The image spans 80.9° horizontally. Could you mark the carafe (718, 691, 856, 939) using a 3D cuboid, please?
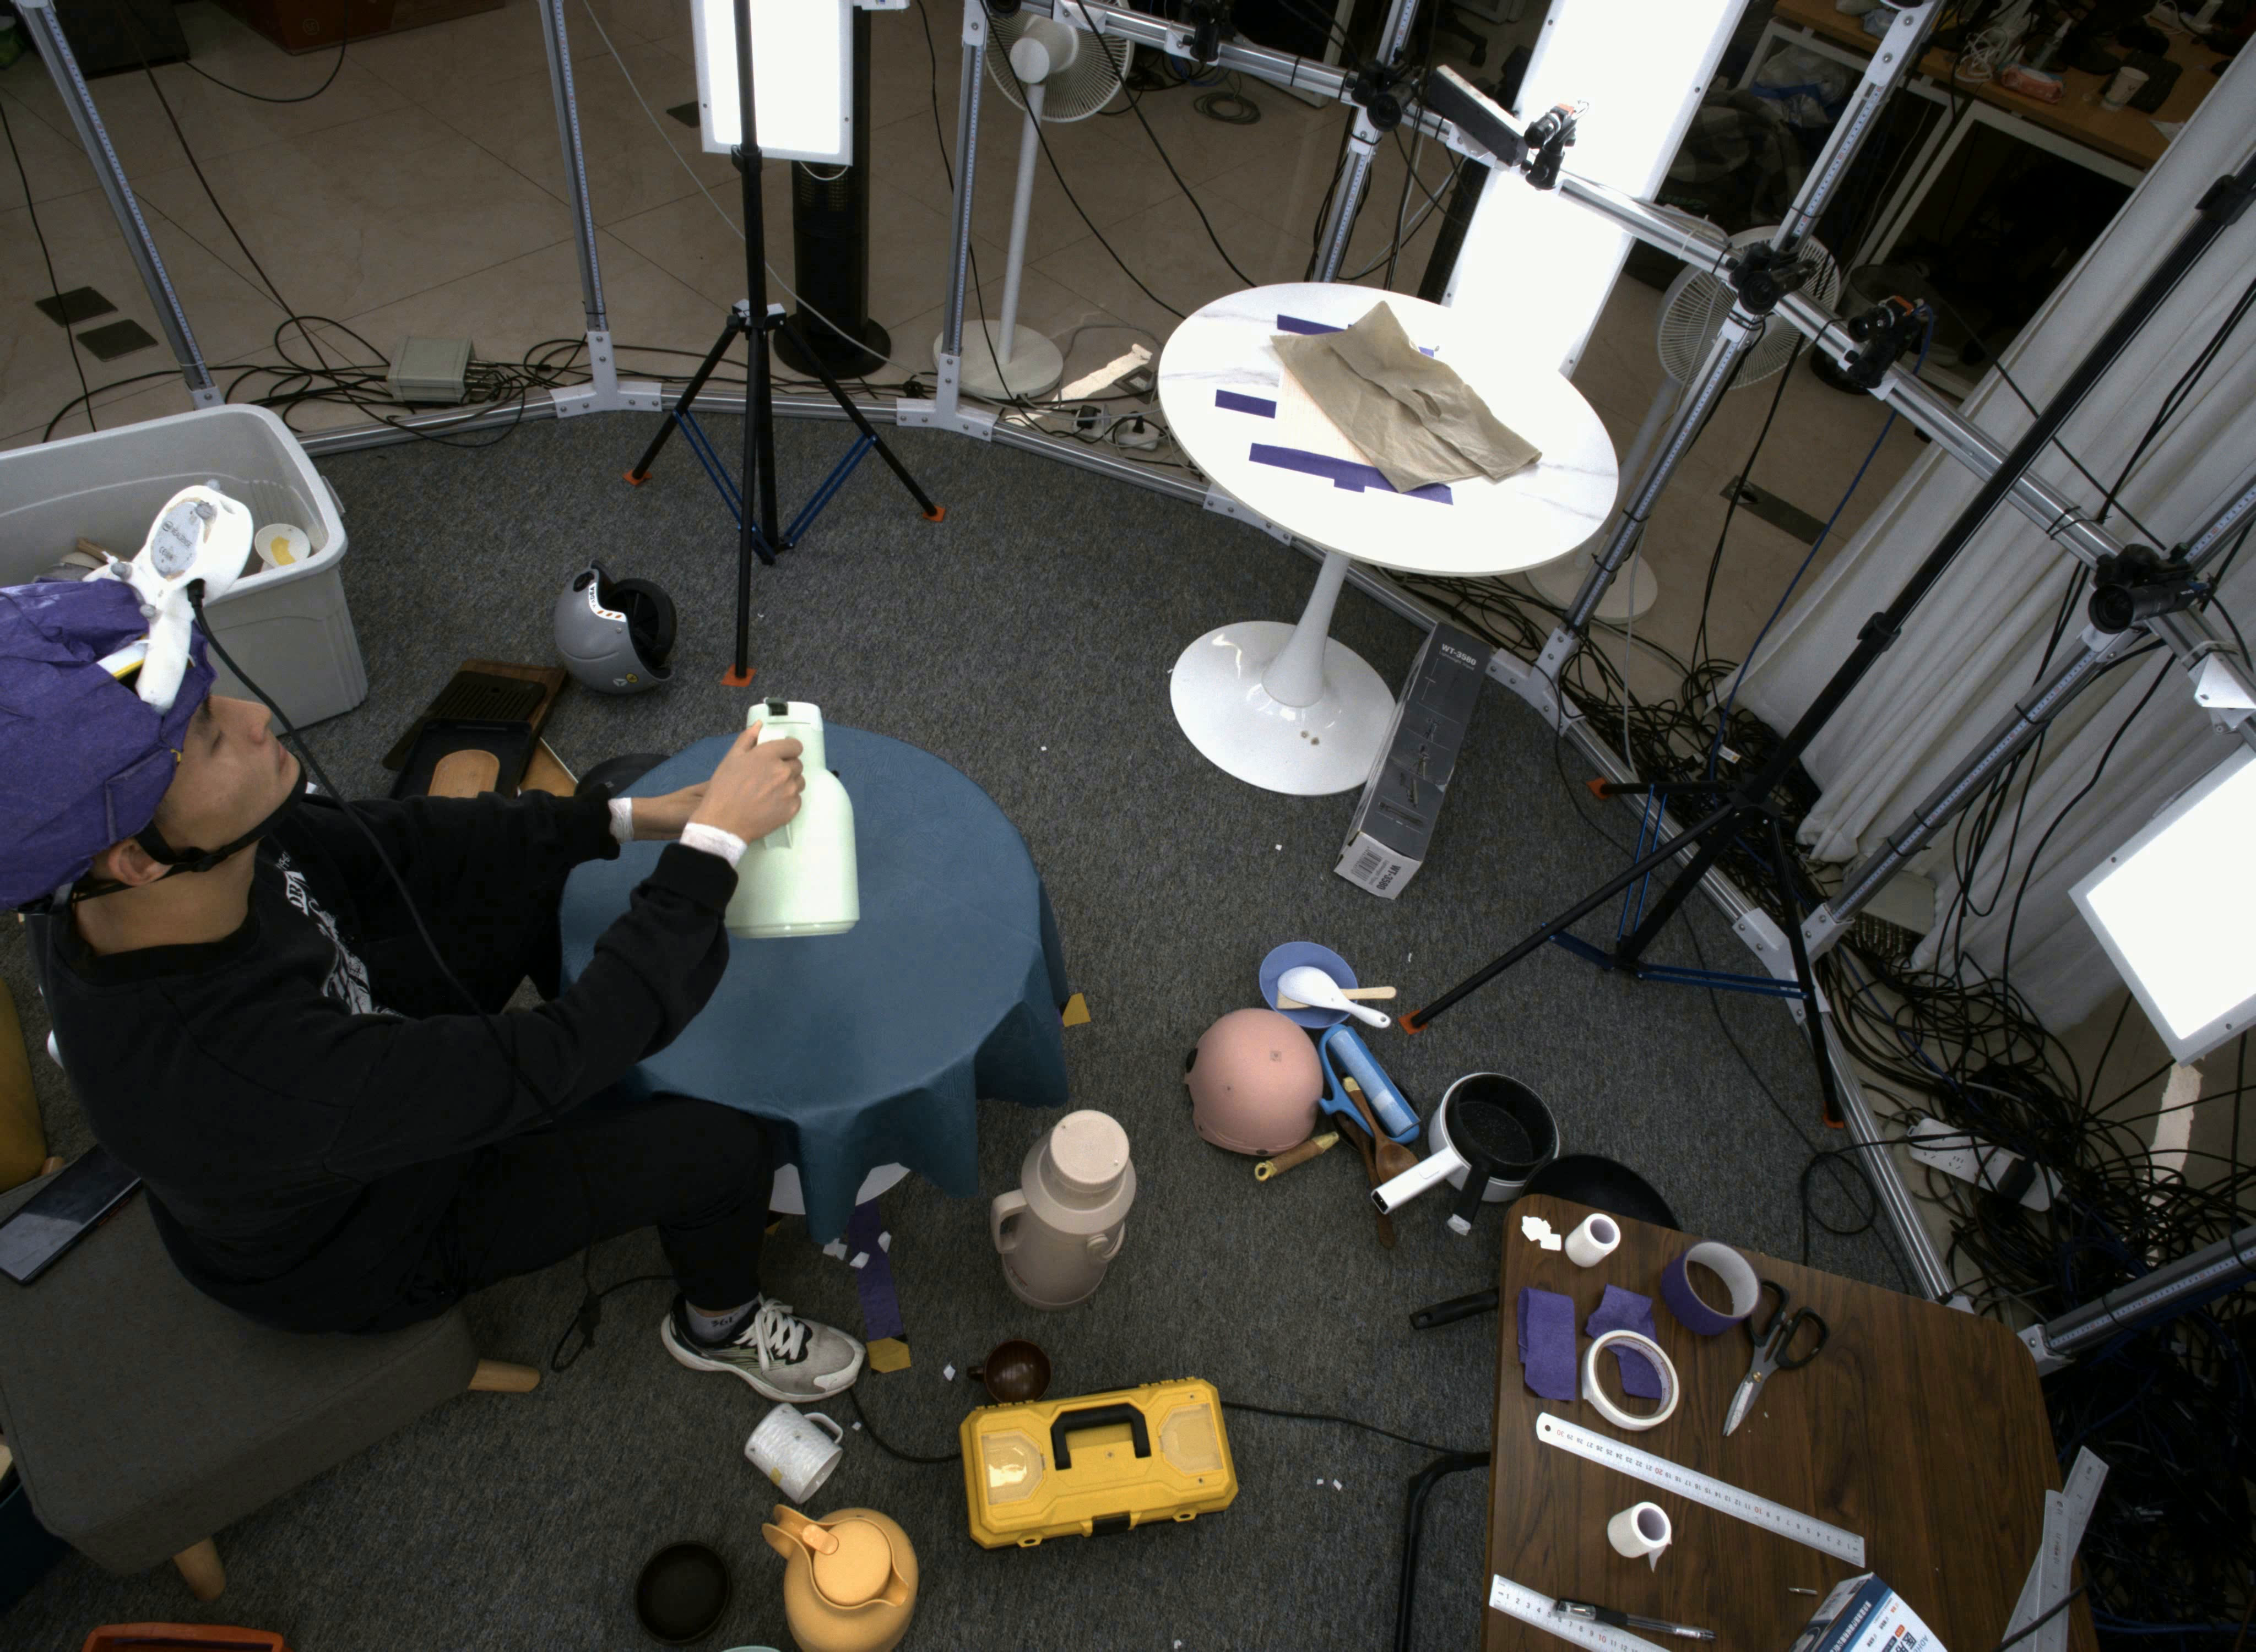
[{"bbox_3d":[-0.371,-0.011,1.389,0.143,0.185,0.260,-2,93,-7],"label":"carafe"}]

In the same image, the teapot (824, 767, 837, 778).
[{"bbox_3d":[-0.421,-0.039,1.587,0.134,0.054,0.088,-15,54,-23],"label":"teapot"}]
